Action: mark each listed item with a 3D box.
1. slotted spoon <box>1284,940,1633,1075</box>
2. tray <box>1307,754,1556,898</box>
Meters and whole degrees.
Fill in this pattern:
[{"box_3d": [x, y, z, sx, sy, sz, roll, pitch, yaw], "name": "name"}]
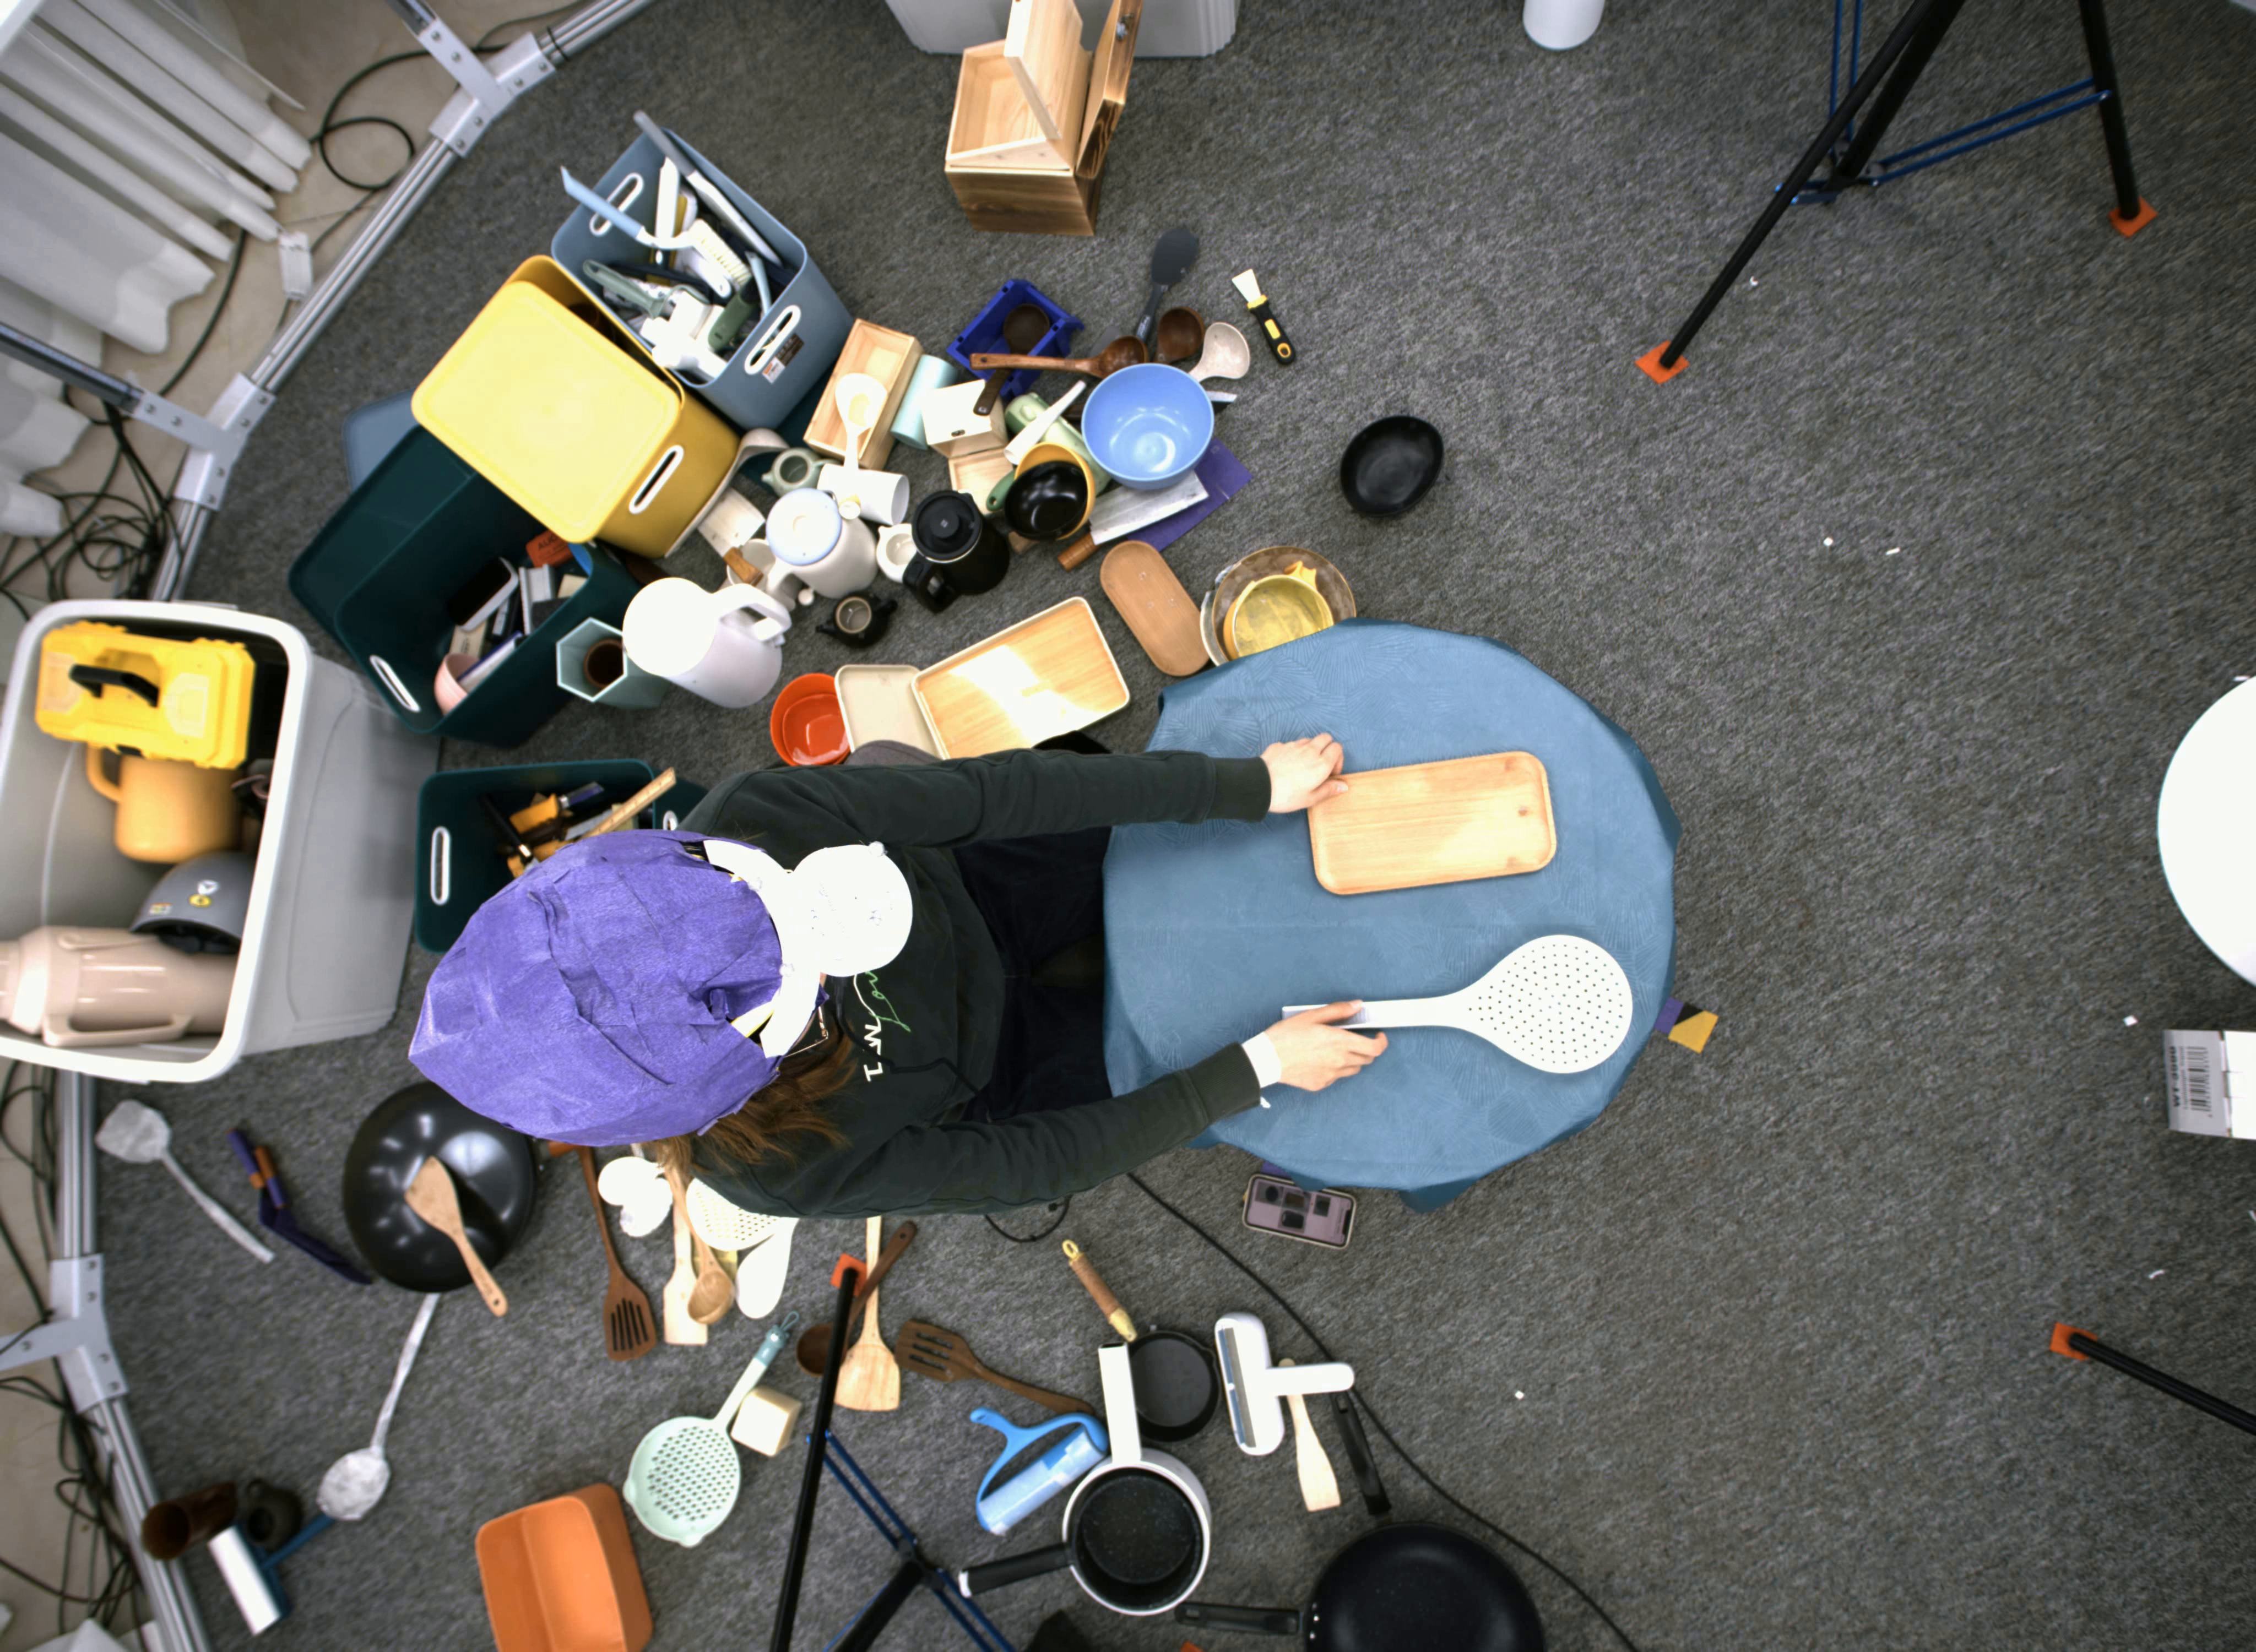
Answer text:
[{"box_3d": [0.335, 0.190, 1.422, 0.351, 0.046, 0.135, -4, 83, 11], "name": "slotted spoon"}, {"box_3d": [0.319, -0.001, 1.453, 0.252, 0.023, 0.129, -8, 83, 11], "name": "tray"}]
